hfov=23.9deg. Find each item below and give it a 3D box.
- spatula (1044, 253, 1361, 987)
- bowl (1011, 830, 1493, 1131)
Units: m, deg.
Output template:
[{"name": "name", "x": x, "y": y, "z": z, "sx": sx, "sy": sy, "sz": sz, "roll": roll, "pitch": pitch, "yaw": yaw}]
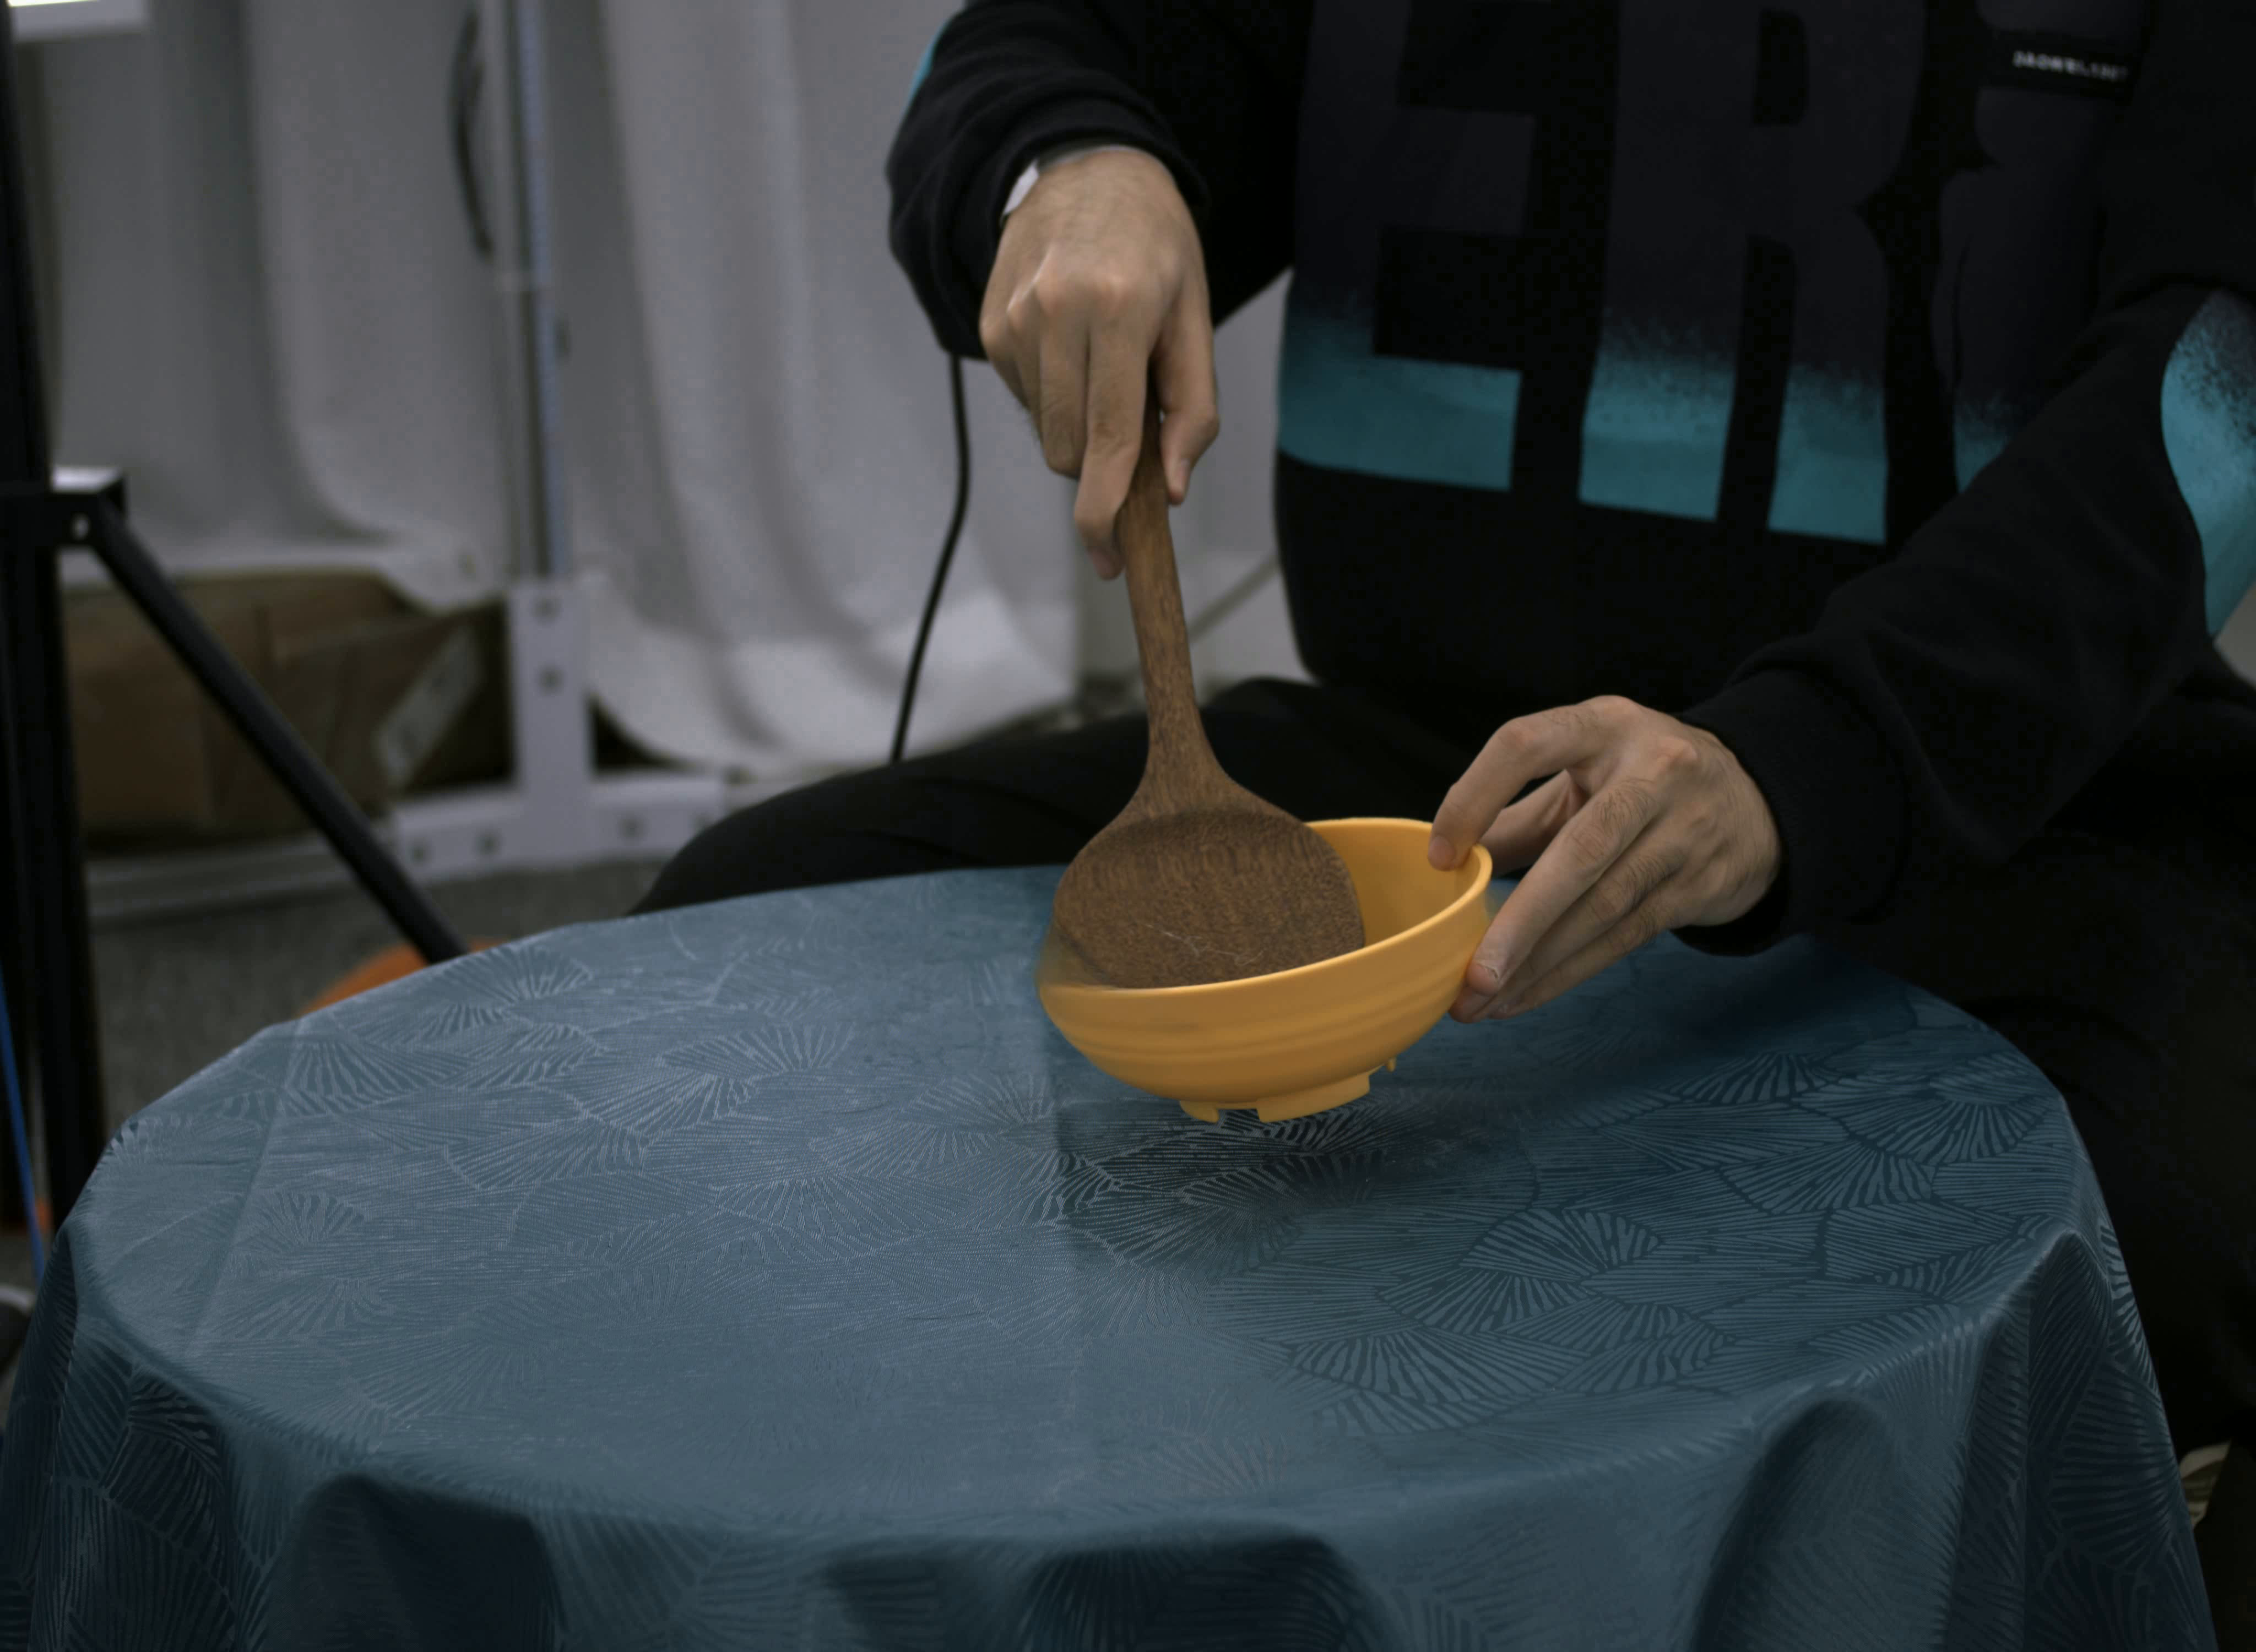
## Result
[{"name": "spatula", "x": 0.007, "y": -0.072, "z": 1.709, "sx": 0.096, "sy": 0.015, "sz": 0.391, "roll": -9, "pitch": 42, "yaw": 1}, {"name": "bowl", "x": 0.040, "y": 0.052, "z": 1.586, "sx": 0.145, "sy": 0.060, "sz": 0.146, "roll": -8, "pitch": 16, "yaw": 1}]
